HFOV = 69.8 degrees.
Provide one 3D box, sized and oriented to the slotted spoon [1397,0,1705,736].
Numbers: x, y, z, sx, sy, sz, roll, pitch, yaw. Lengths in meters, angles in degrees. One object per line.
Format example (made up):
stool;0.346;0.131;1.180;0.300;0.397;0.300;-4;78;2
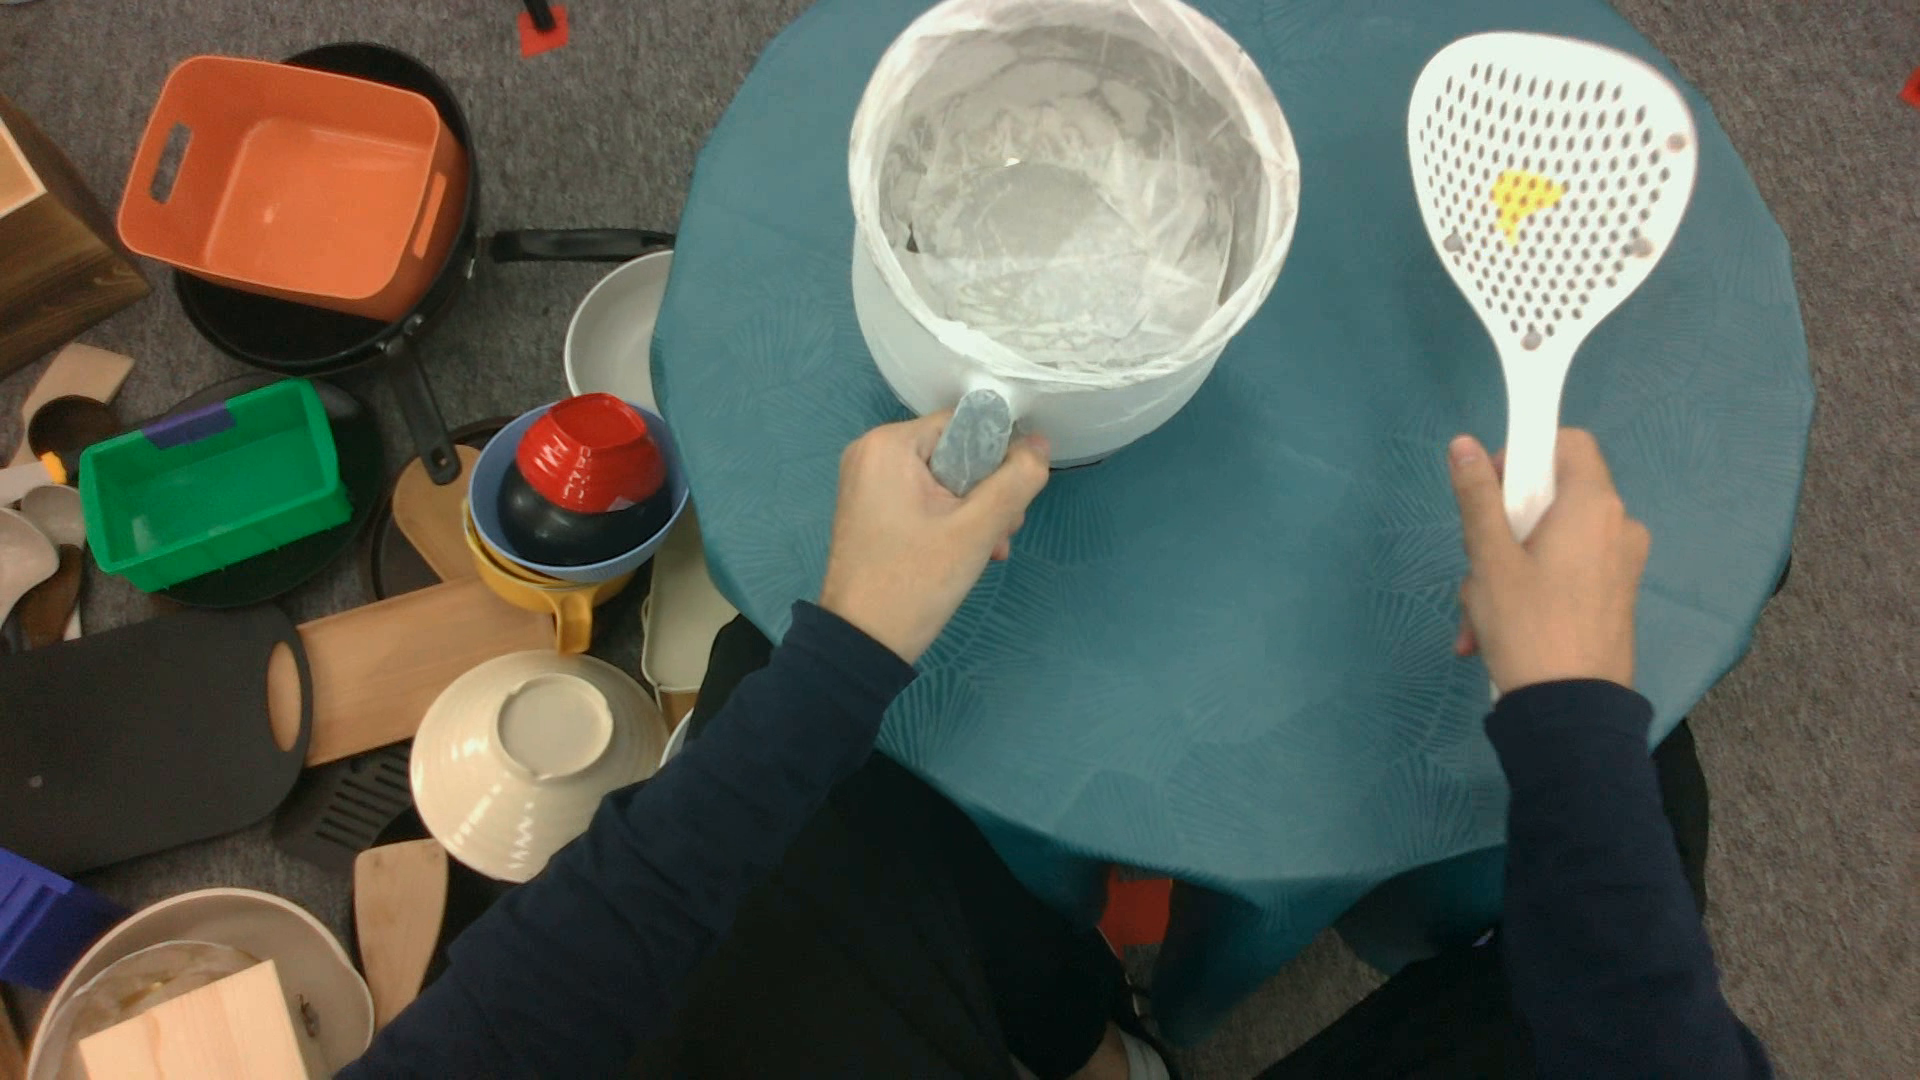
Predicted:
slotted spoon;0.256;-0.088;0.618;0.137;0.050;0.349;7;70;8

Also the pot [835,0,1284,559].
pot;0.028;-0.109;0.593;0.179;0.136;0.234;18;75;2
